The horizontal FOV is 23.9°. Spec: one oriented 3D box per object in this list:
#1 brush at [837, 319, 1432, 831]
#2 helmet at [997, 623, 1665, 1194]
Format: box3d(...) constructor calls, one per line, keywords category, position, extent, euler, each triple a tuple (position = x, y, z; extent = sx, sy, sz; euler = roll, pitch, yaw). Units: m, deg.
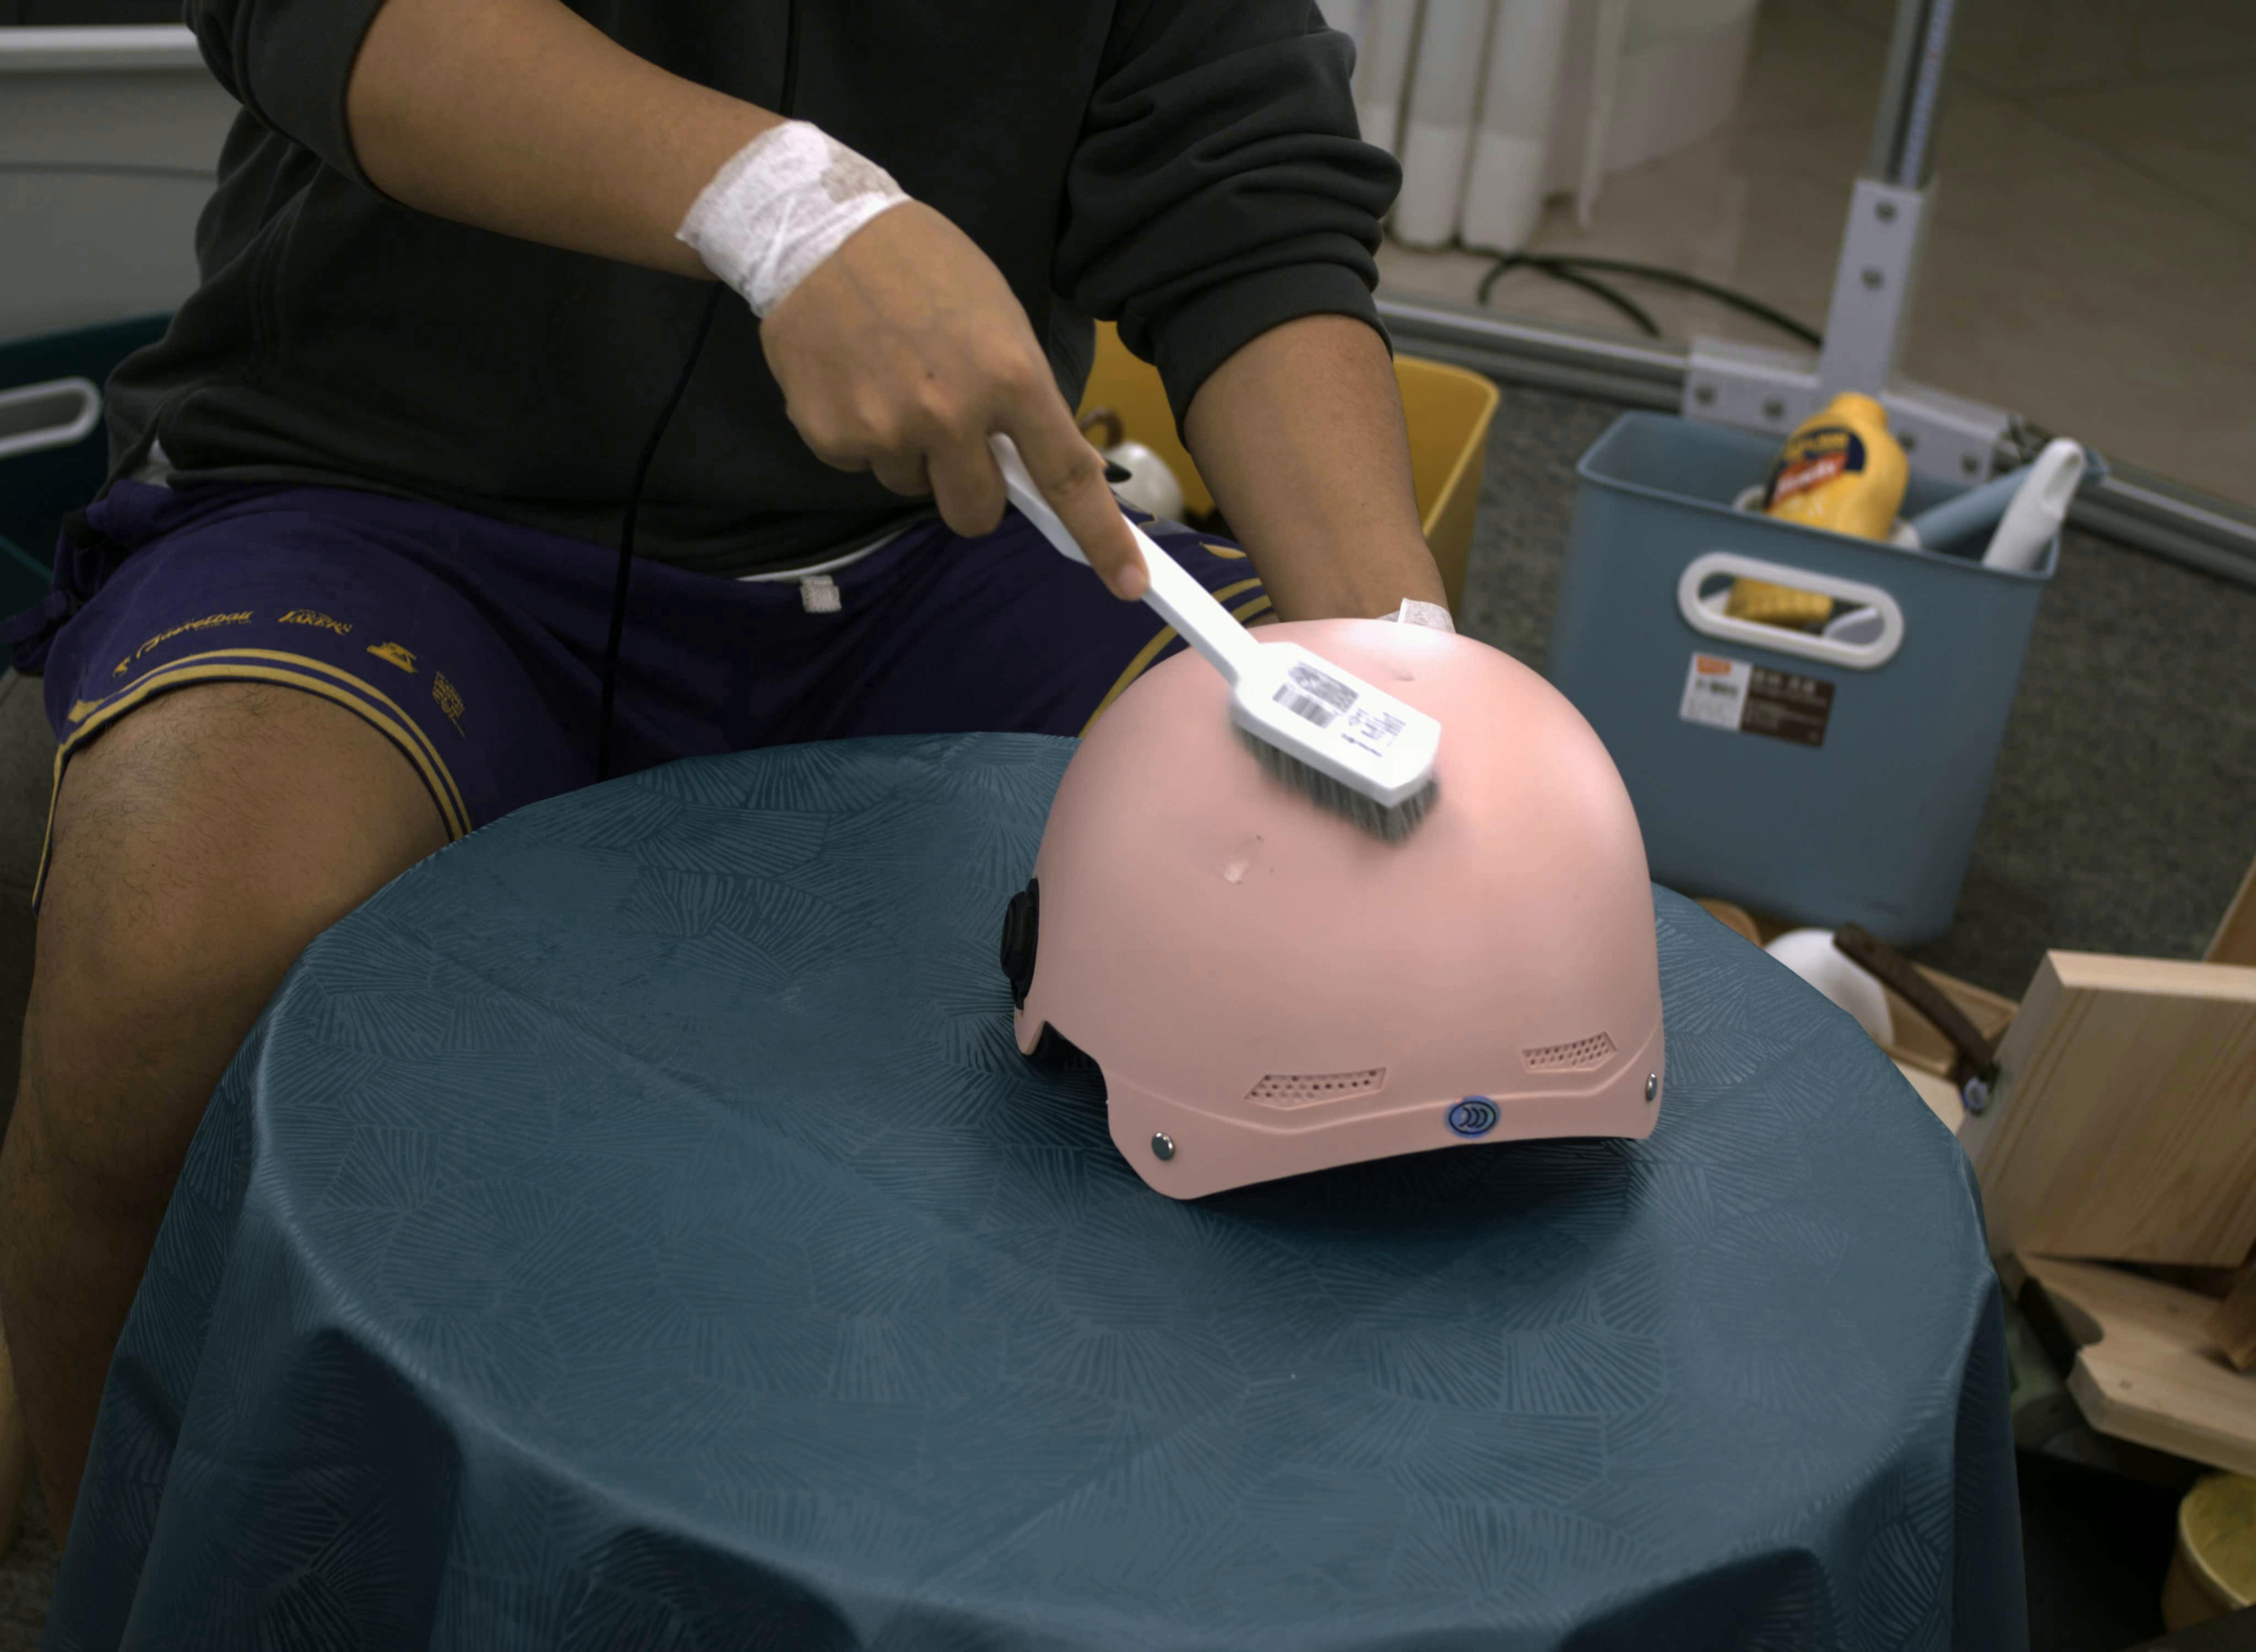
box3d(category="brush", position=(-0.001, -0.082, 1.752), extent=(0.243, 0.050, 0.034), euler=(36, 60, 1))
box3d(category="helmet", position=(0.073, 0.008, 1.865), extent=(0.233, 0.158, 0.268), euler=(-7, 25, -15))
